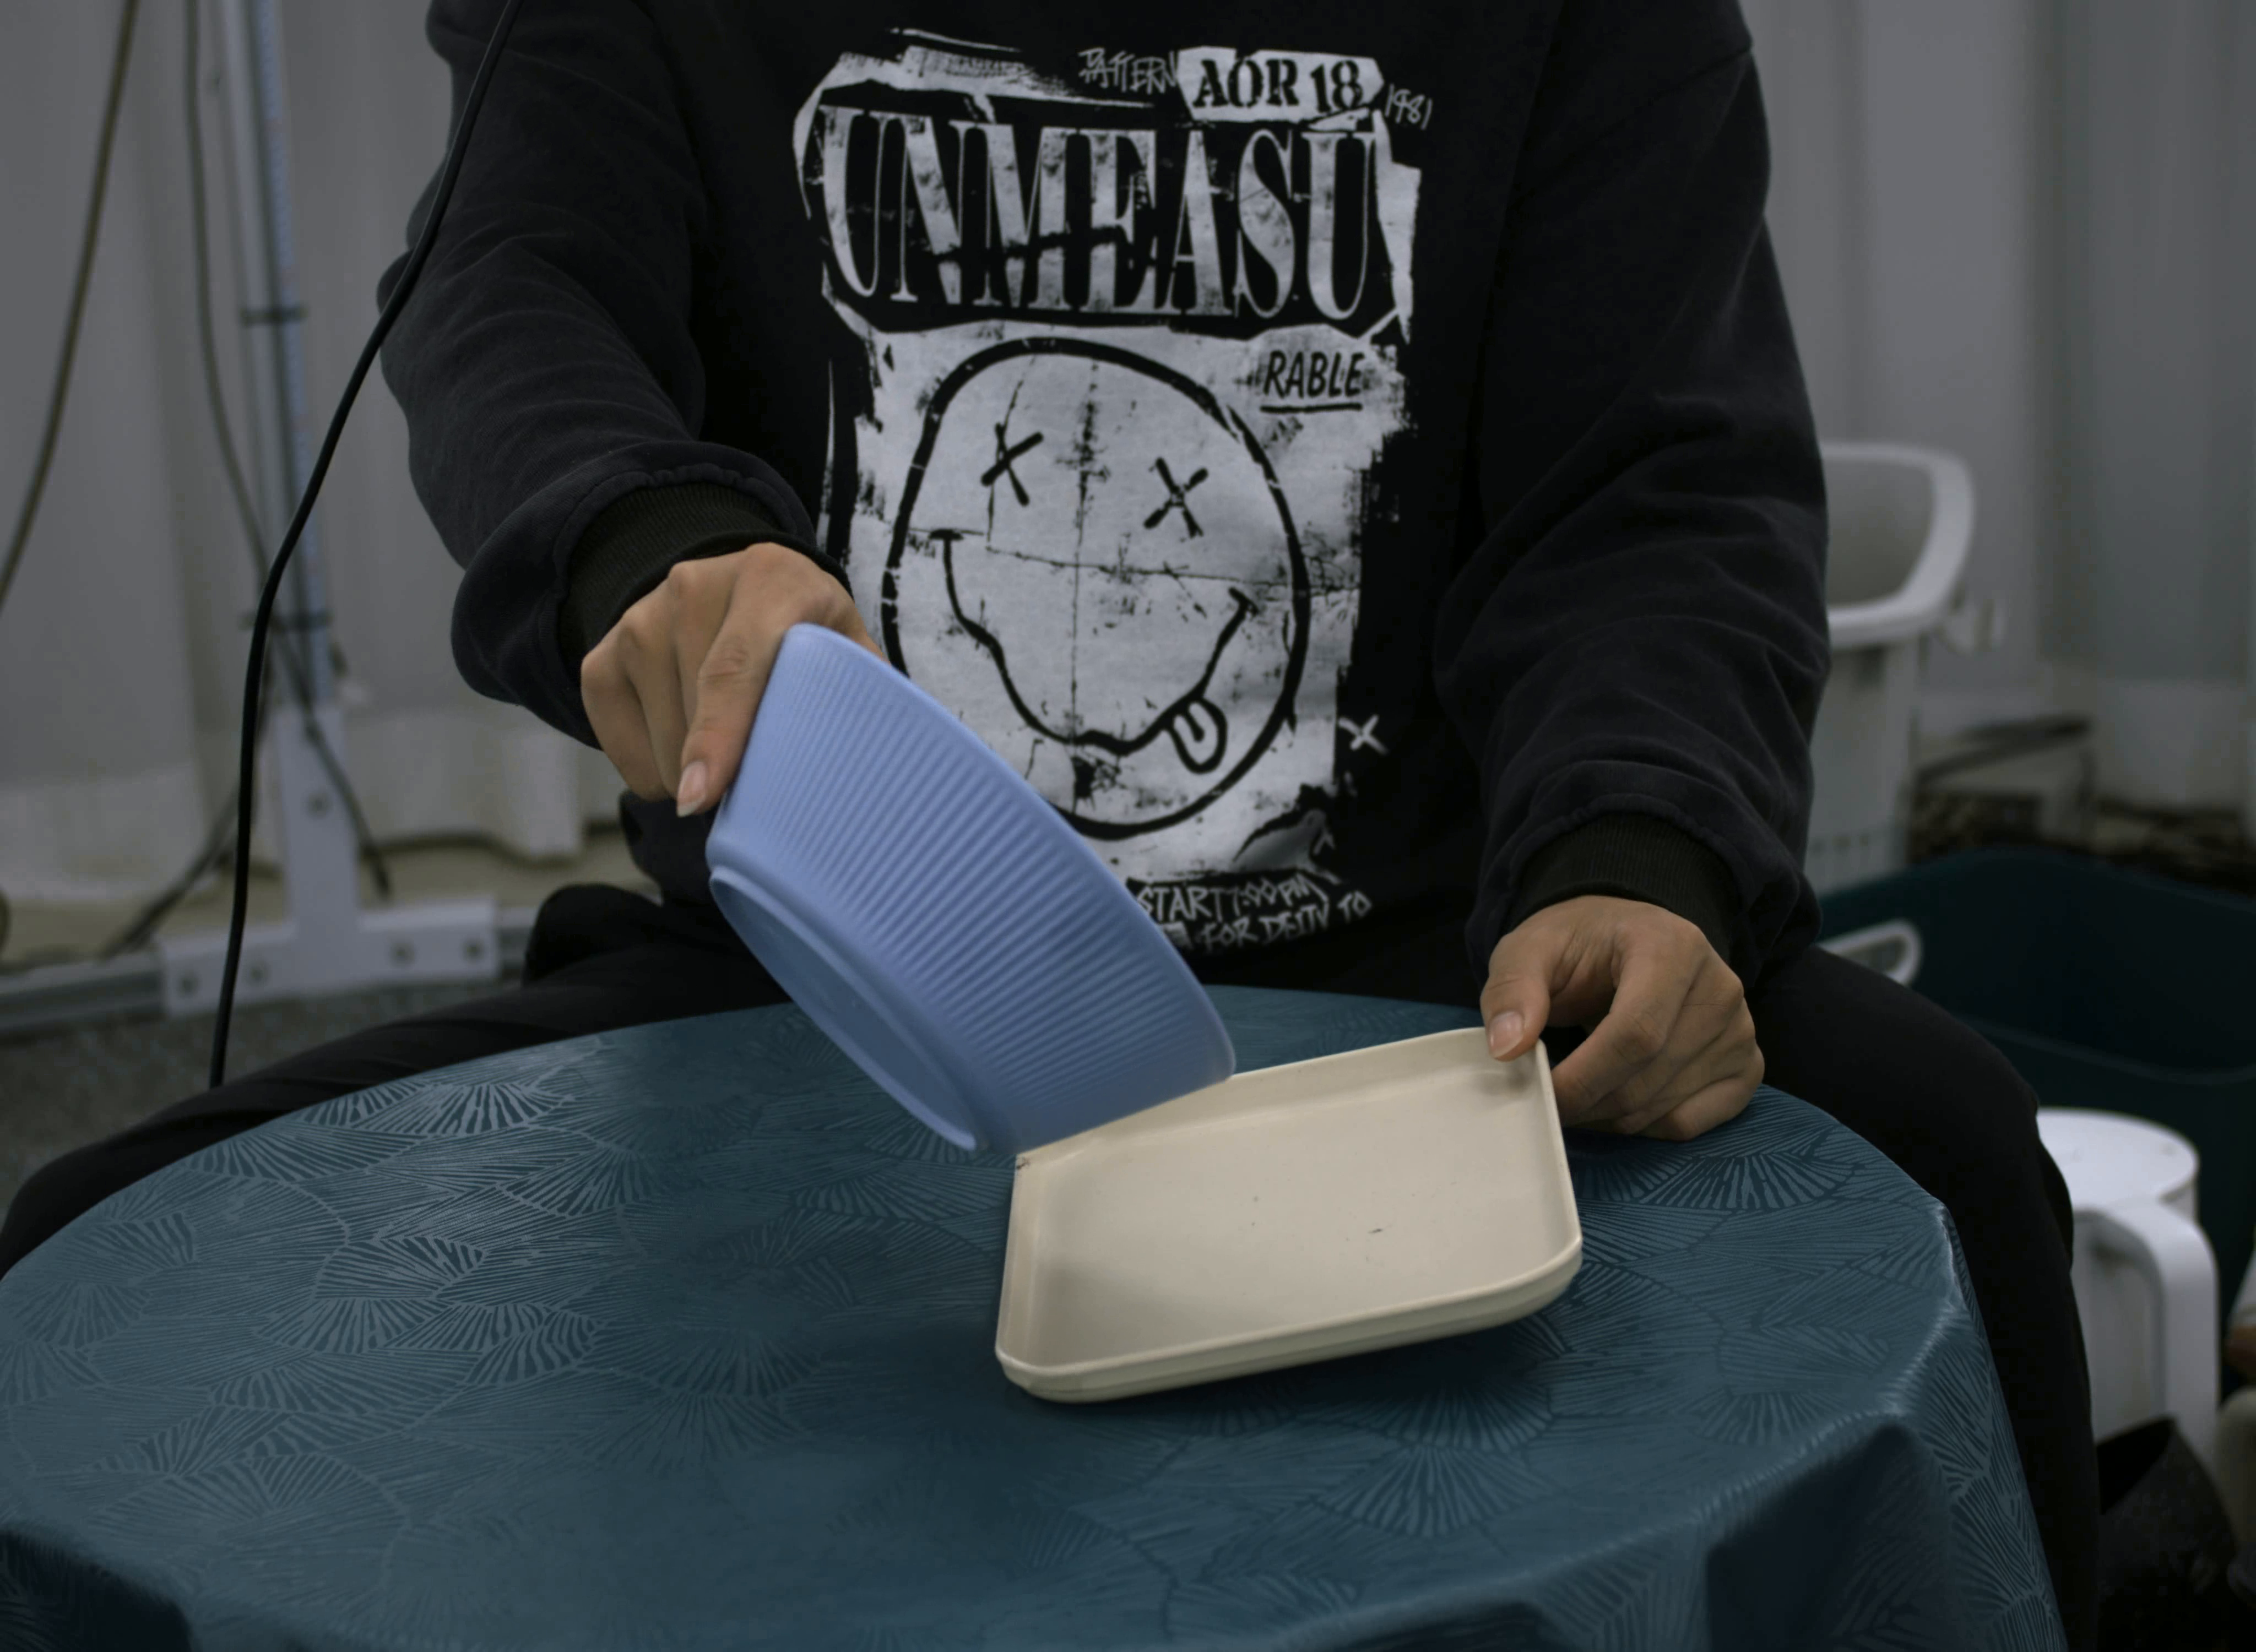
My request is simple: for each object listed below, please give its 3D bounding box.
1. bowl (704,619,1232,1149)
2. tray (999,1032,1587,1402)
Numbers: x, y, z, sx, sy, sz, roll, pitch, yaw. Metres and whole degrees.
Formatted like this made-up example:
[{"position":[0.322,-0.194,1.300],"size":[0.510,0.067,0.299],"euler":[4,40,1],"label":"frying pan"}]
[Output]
[{"position":[-0.056,0.027,1.530],"size":[0.070,0.174,0.177],"euler":[-44,28,-12],"label":"bowl"},{"position":[0.048,0.115,1.628],"size":[0.171,0.017,0.241],"euler":[-10,15,4],"label":"tray"}]
